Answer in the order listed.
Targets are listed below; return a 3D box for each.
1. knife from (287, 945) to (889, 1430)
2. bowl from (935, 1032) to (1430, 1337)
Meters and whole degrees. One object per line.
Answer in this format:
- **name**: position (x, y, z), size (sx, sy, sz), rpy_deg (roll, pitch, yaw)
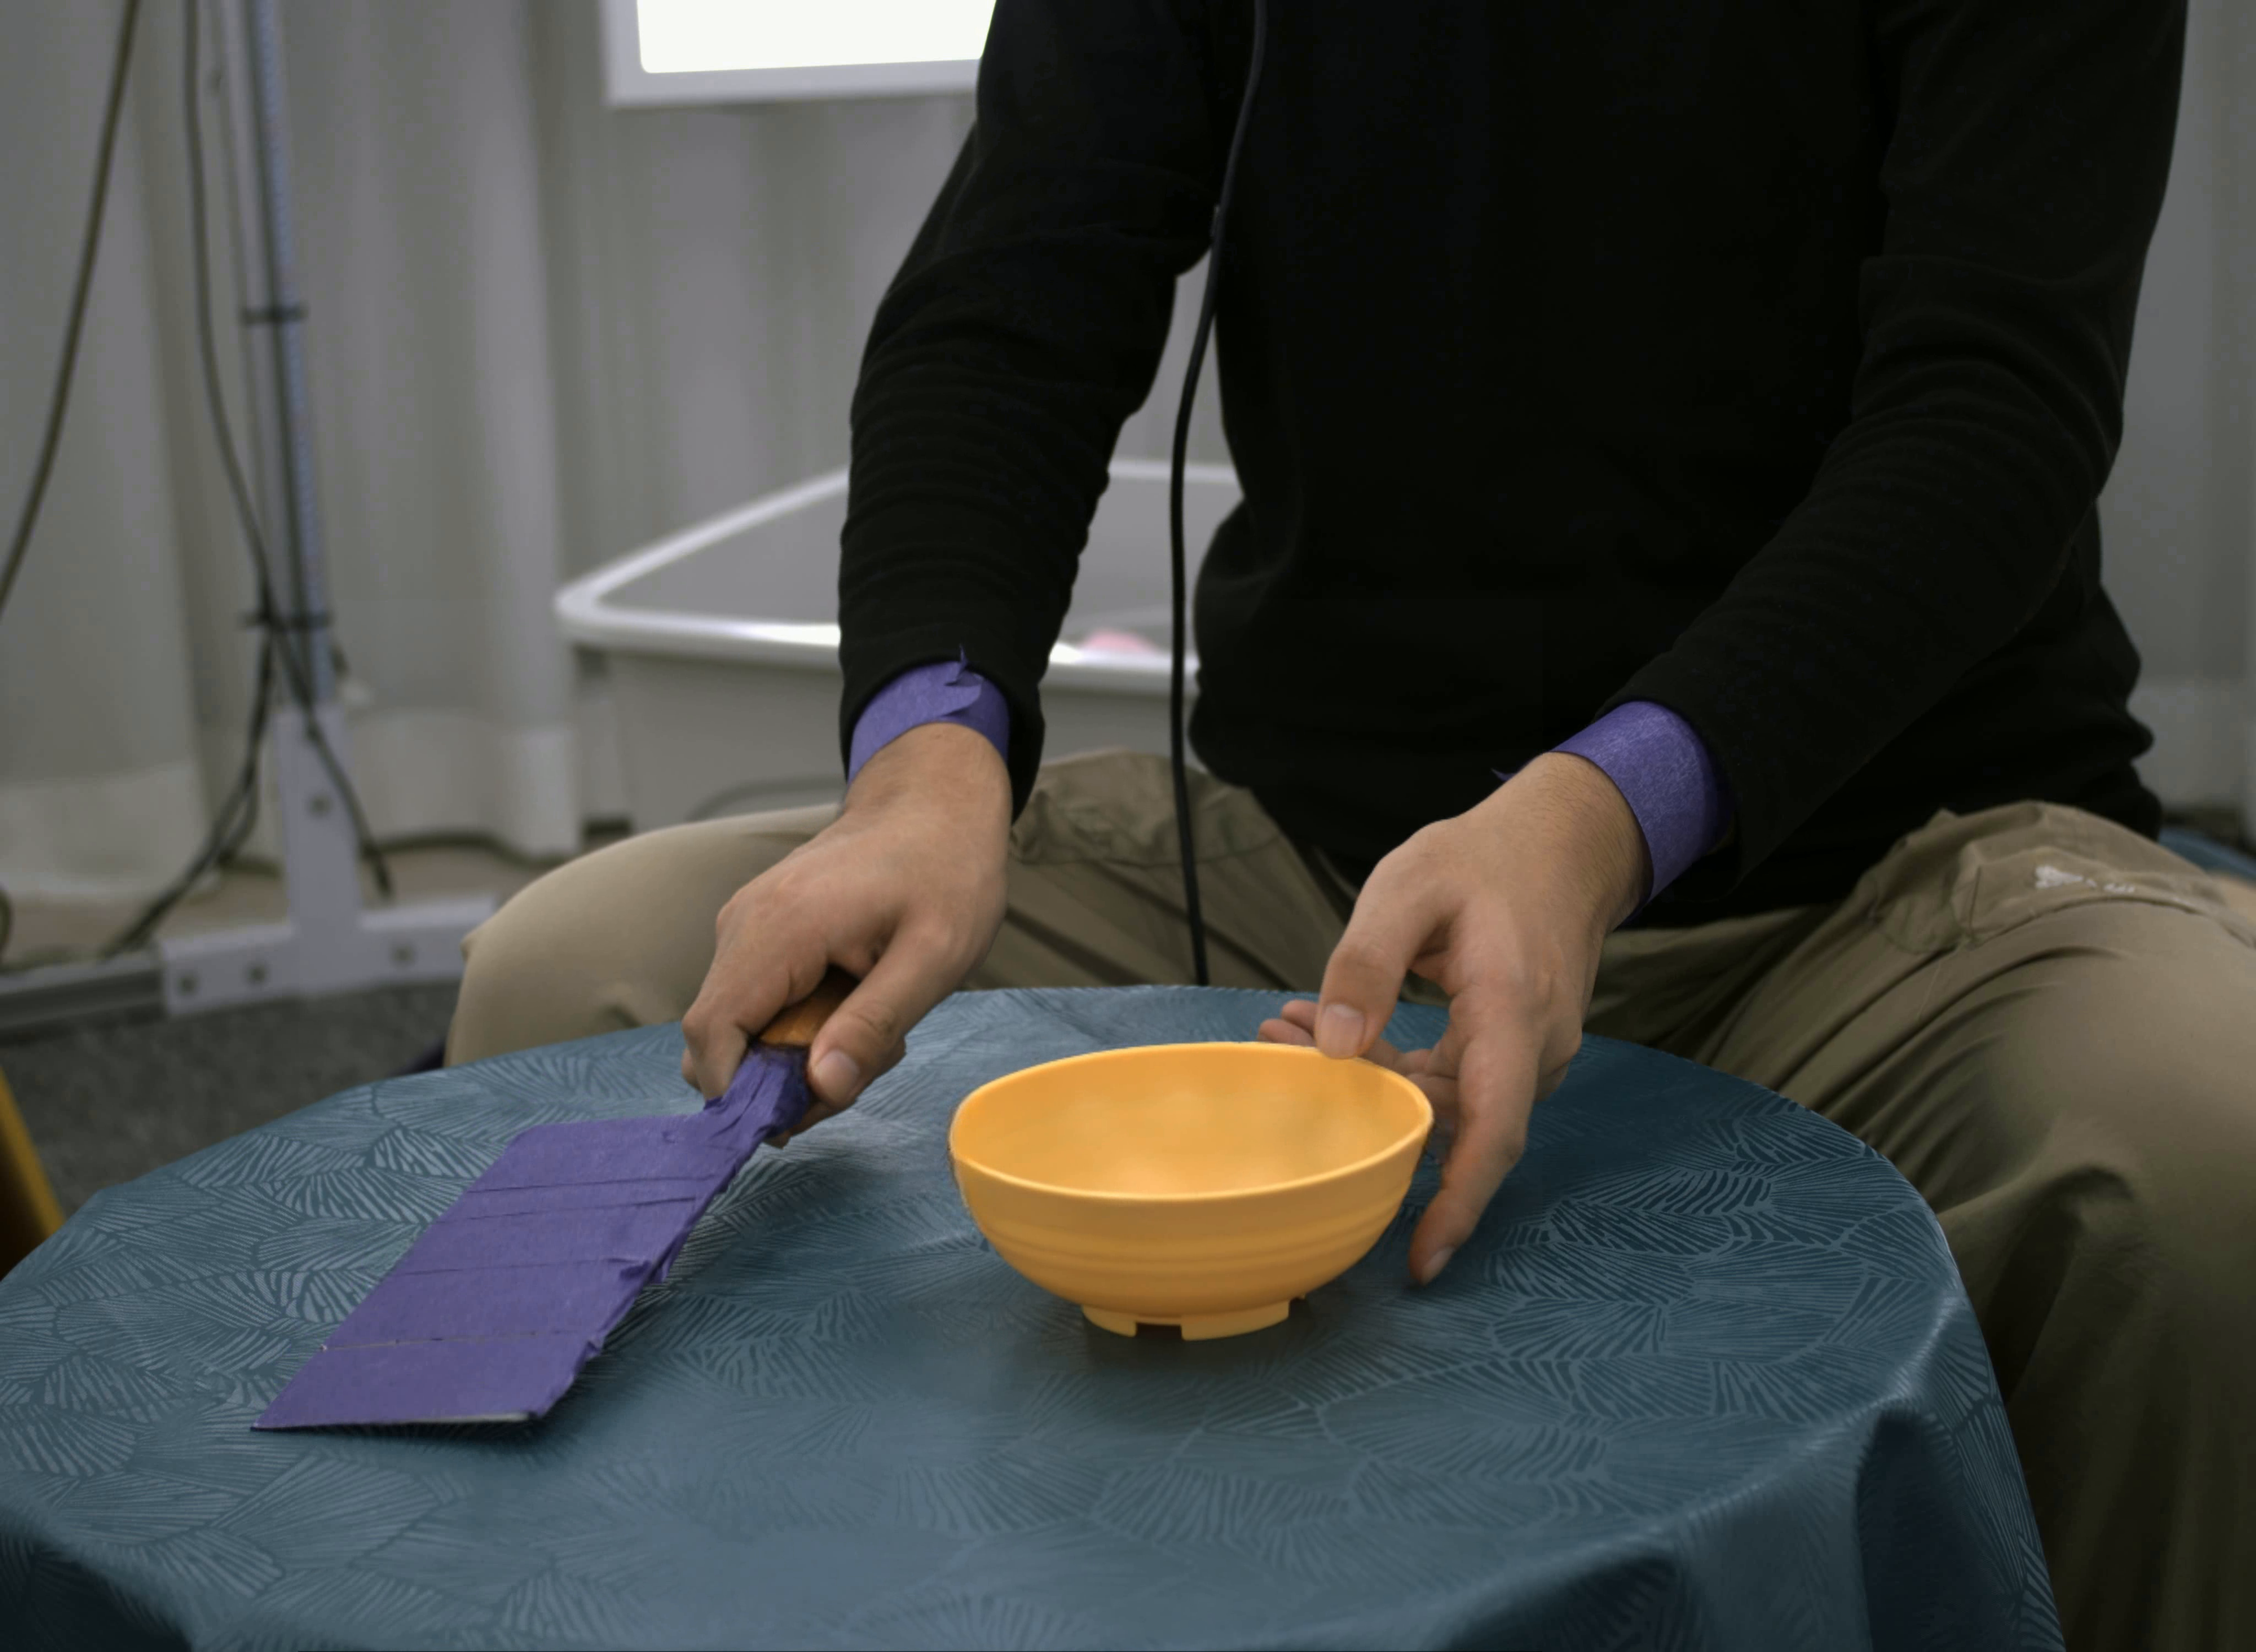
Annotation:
- **knife**: position (-0.162, 0.107, 1.669), size (0.104, 0.032, 0.317), rpy_deg (-4, 18, 19)
- **bowl**: position (0.016, 0.111, 1.606), size (0.145, 0.060, 0.146), rpy_deg (-2, 16, 0)
